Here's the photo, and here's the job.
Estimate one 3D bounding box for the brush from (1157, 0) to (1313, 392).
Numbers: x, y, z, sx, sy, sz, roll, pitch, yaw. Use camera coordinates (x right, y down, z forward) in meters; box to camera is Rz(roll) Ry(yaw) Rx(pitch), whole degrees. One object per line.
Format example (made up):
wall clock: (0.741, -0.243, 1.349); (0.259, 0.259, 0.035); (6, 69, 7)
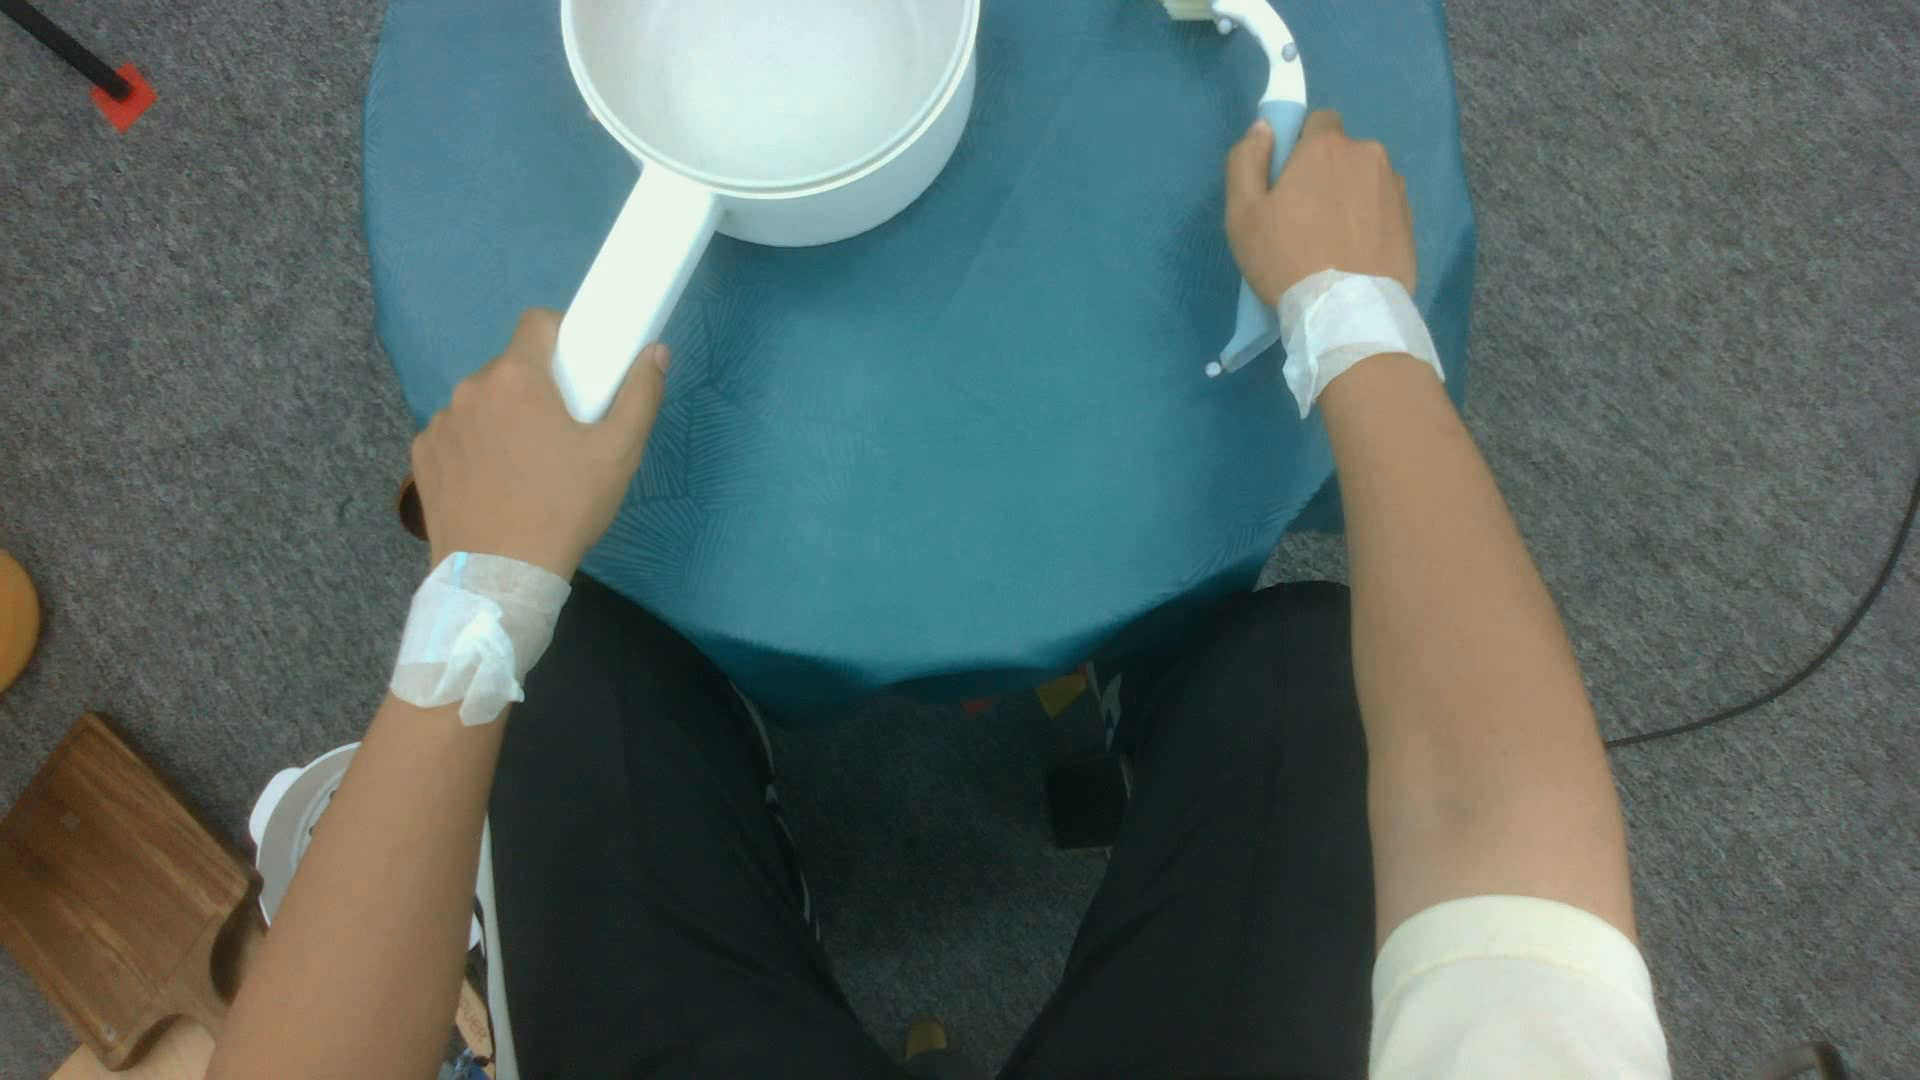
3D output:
brush: (0.135, -0.239, 0.734); (0.083, 0.084, 0.326); (10, 82, -29)

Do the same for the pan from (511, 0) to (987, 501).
pan: (-0.117, -0.180, 0.714); (0.201, 0.102, 0.355); (25, 83, 6)
